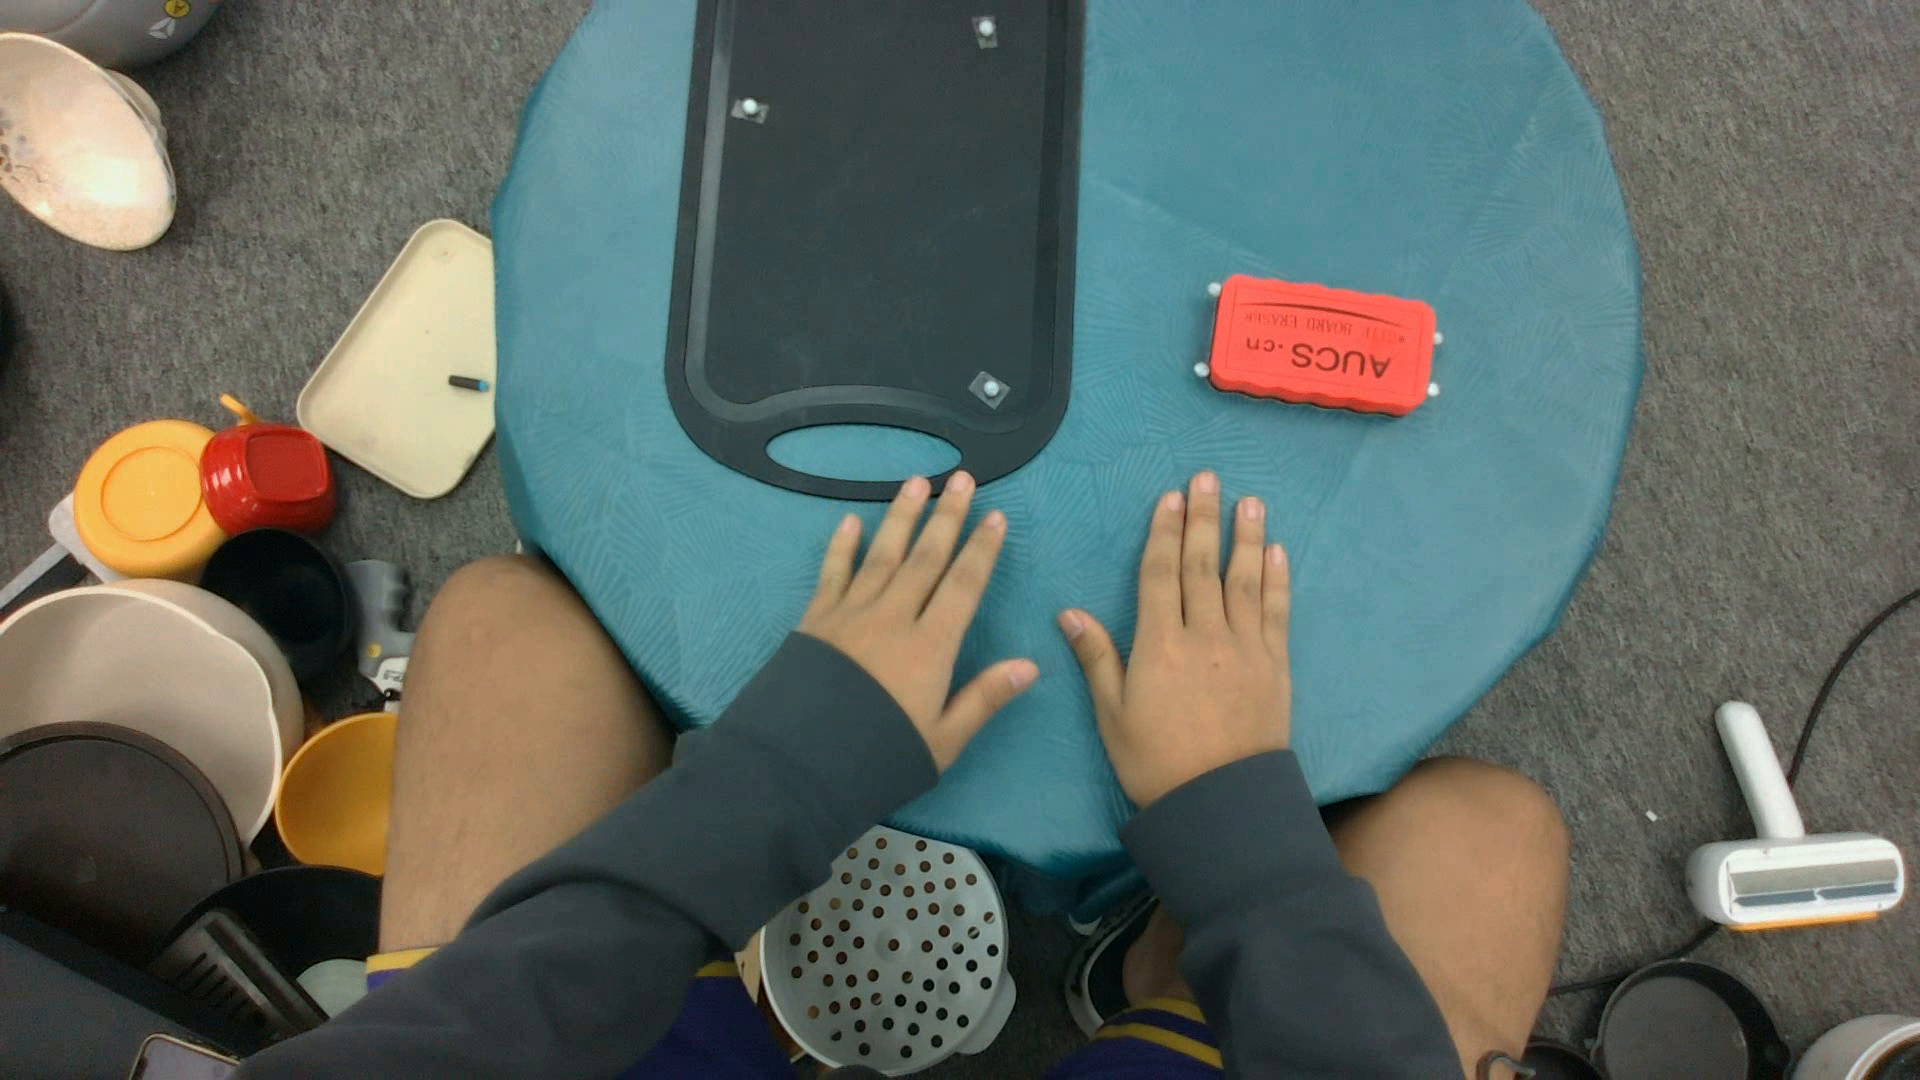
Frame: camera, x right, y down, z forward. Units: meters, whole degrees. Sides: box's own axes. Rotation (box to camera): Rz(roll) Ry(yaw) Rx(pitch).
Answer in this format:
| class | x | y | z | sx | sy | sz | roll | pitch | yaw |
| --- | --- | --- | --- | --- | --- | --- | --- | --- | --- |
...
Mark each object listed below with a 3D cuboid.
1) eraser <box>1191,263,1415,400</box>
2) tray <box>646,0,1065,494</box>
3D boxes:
| class | x | y | z | sx | sy | sz | roll | pitch | yaw |
| --- | --- | --- | --- | --- | --- | --- | --- | --- | --- |
| eraser | 0.174 | -0.106 | 0.703 | 0.108 | 0.023 | 0.059 | 8 | 77 | 2 |
| tray | -0.052 | -0.183 | 0.725 | 0.211 | 0.010 | 0.326 | 3 | 78 | -1 |
